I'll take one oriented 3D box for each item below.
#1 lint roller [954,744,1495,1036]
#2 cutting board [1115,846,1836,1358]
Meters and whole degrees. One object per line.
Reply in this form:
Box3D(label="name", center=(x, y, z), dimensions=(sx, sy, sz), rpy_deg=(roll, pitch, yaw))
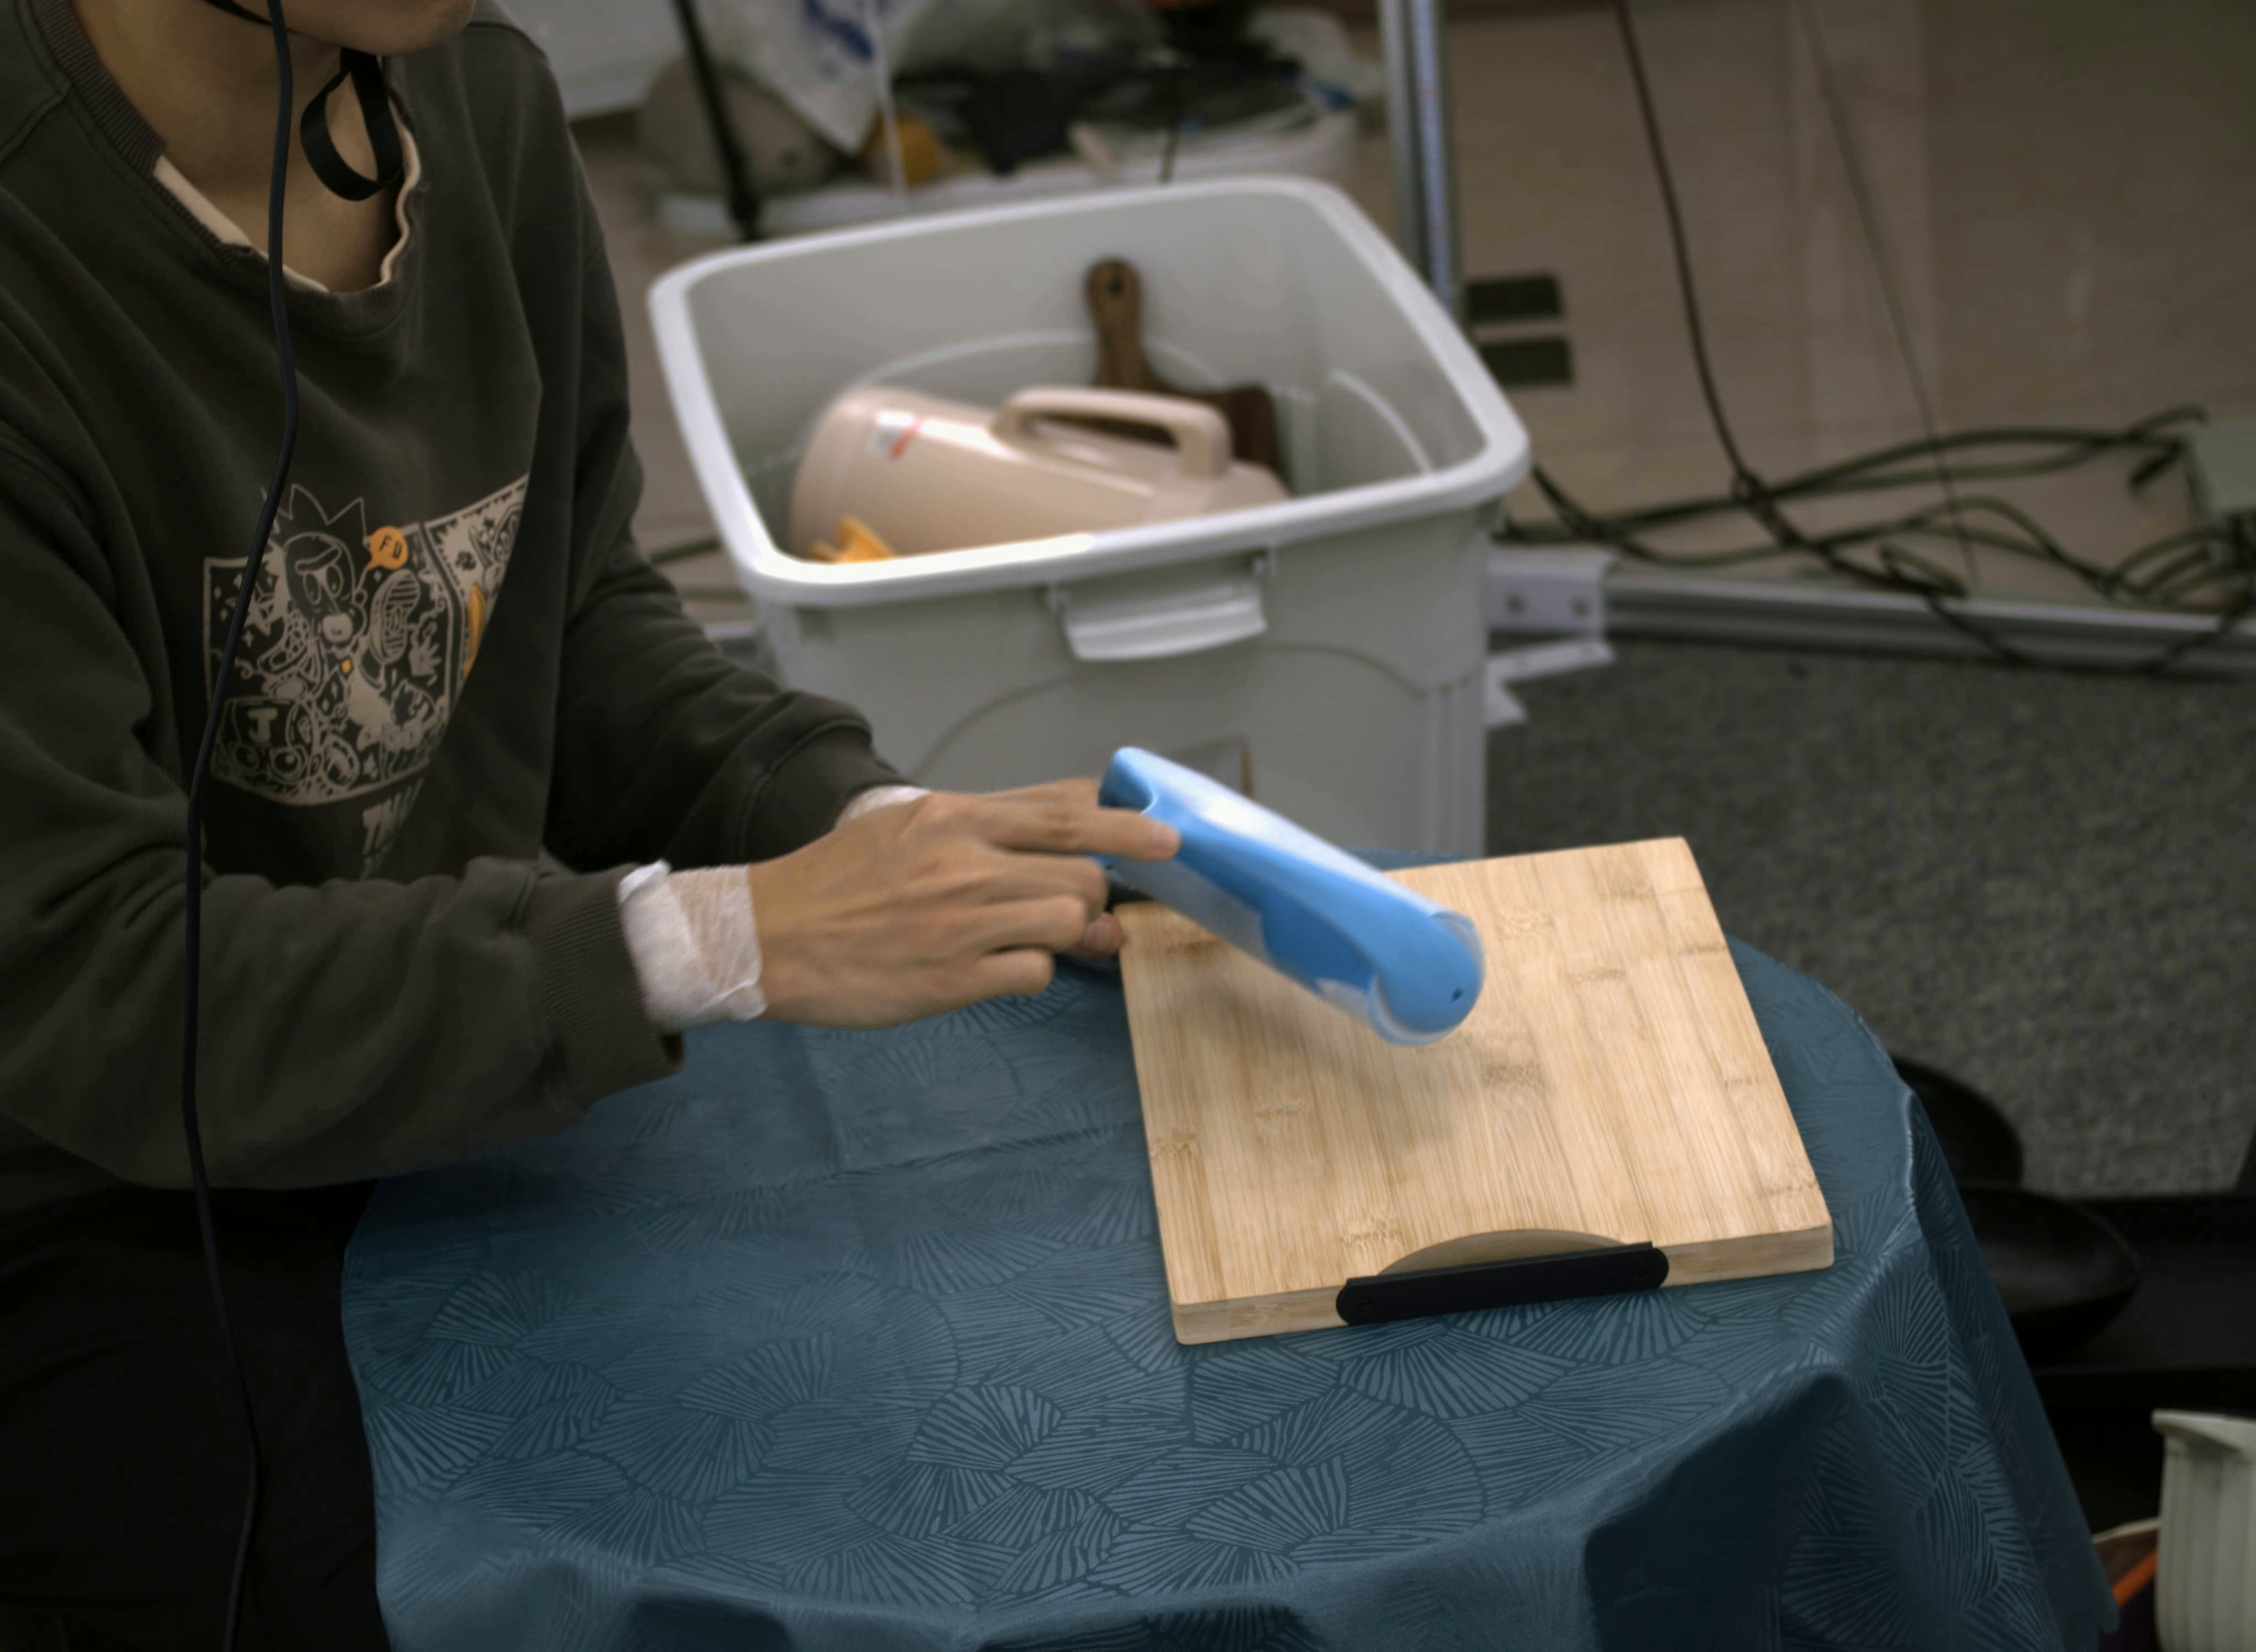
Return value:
Box3D(label="lint roller", center=(0.018, 0.023, 2.169), dimensions=(0.180, 0.068, 0.226), rpy_deg=(2, 17, -36))
Box3D(label="cutting board", center=(0.124, 0.099, 2.183), dimensions=(0.250, 0.024, 0.343), rpy_deg=(-8, 25, -1))
